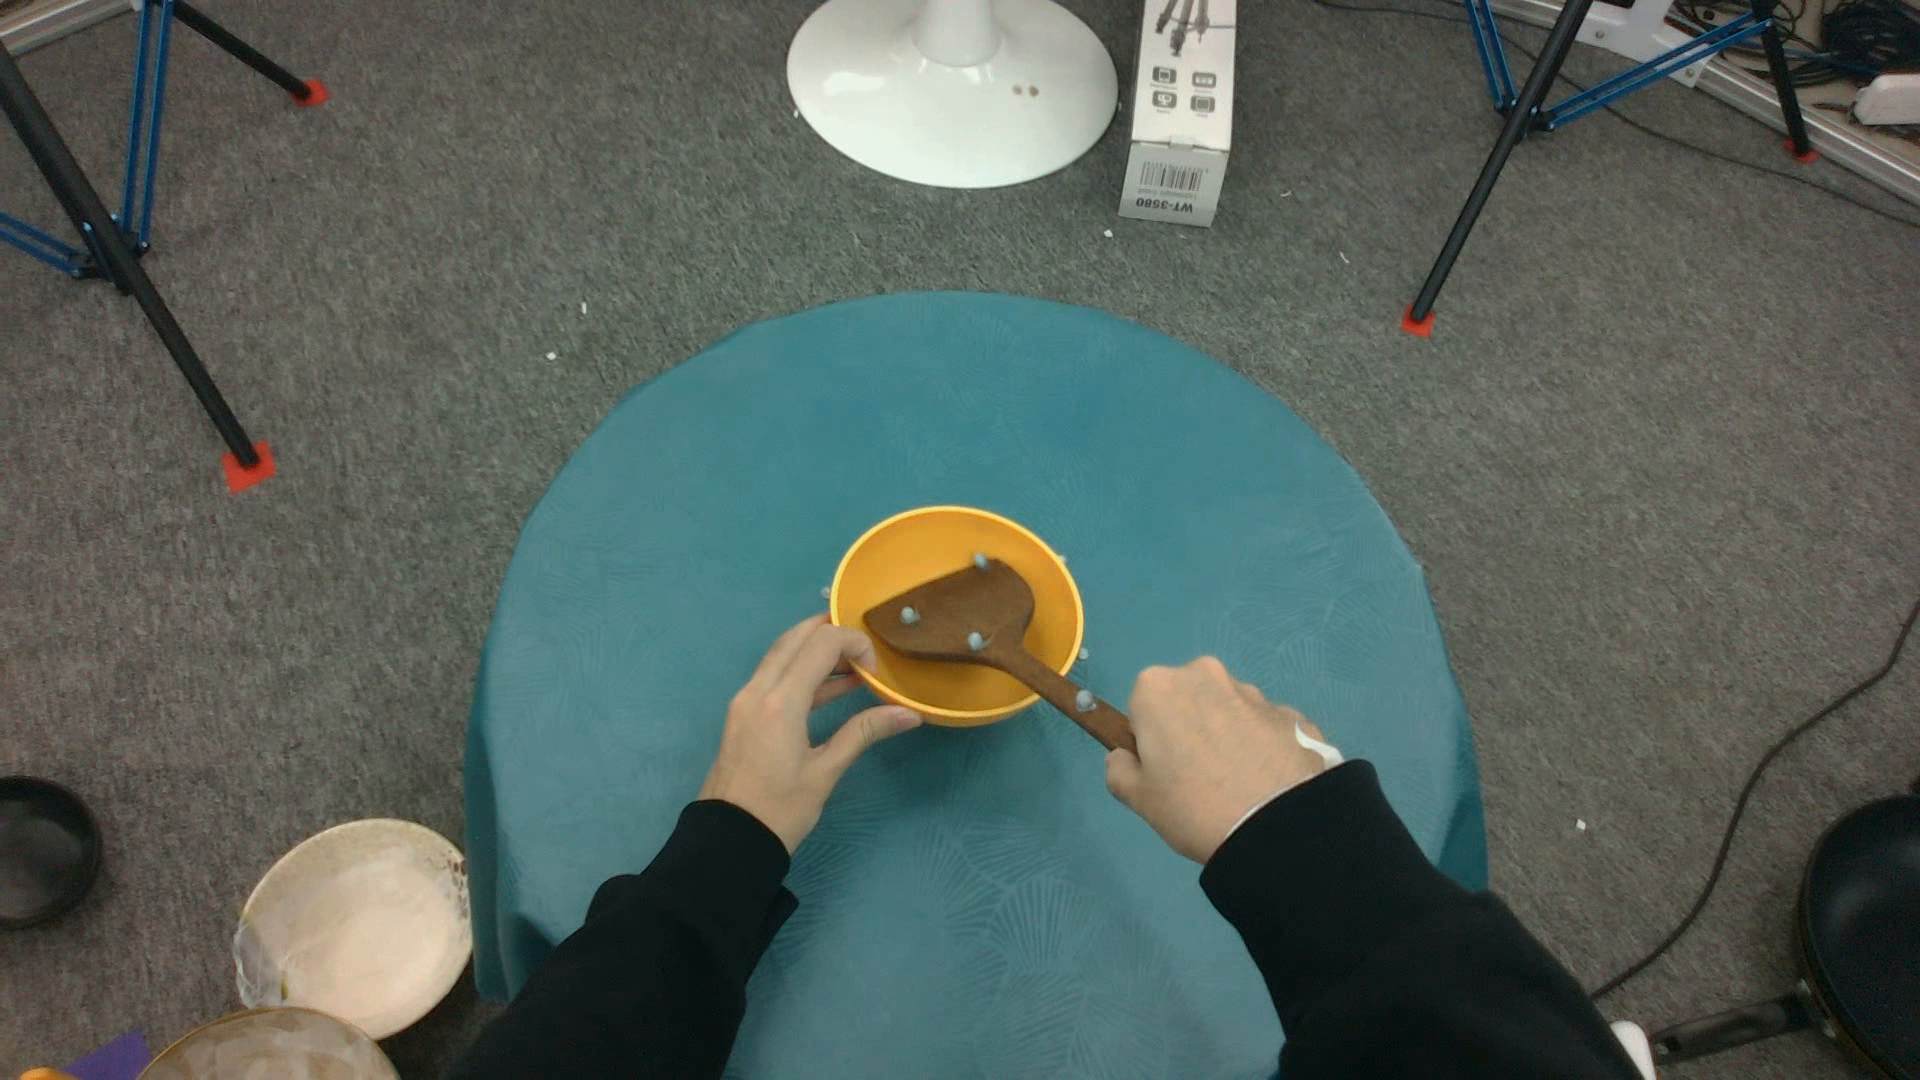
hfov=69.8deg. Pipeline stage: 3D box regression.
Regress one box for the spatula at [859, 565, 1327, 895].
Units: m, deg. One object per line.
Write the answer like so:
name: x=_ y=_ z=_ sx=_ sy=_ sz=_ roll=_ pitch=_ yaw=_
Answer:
spatula: x=0.052 y=0.076 z=0.664 sx=0.096 sy=0.016 sz=0.386 roll=-20 pitch=20 yaw=-18

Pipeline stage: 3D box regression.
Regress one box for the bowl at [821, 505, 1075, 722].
bowl: x=-0.009 y=0.052 z=0.802 sx=0.145 sy=0.060 sz=0.146 roll=4 pitch=52 yaw=-5
